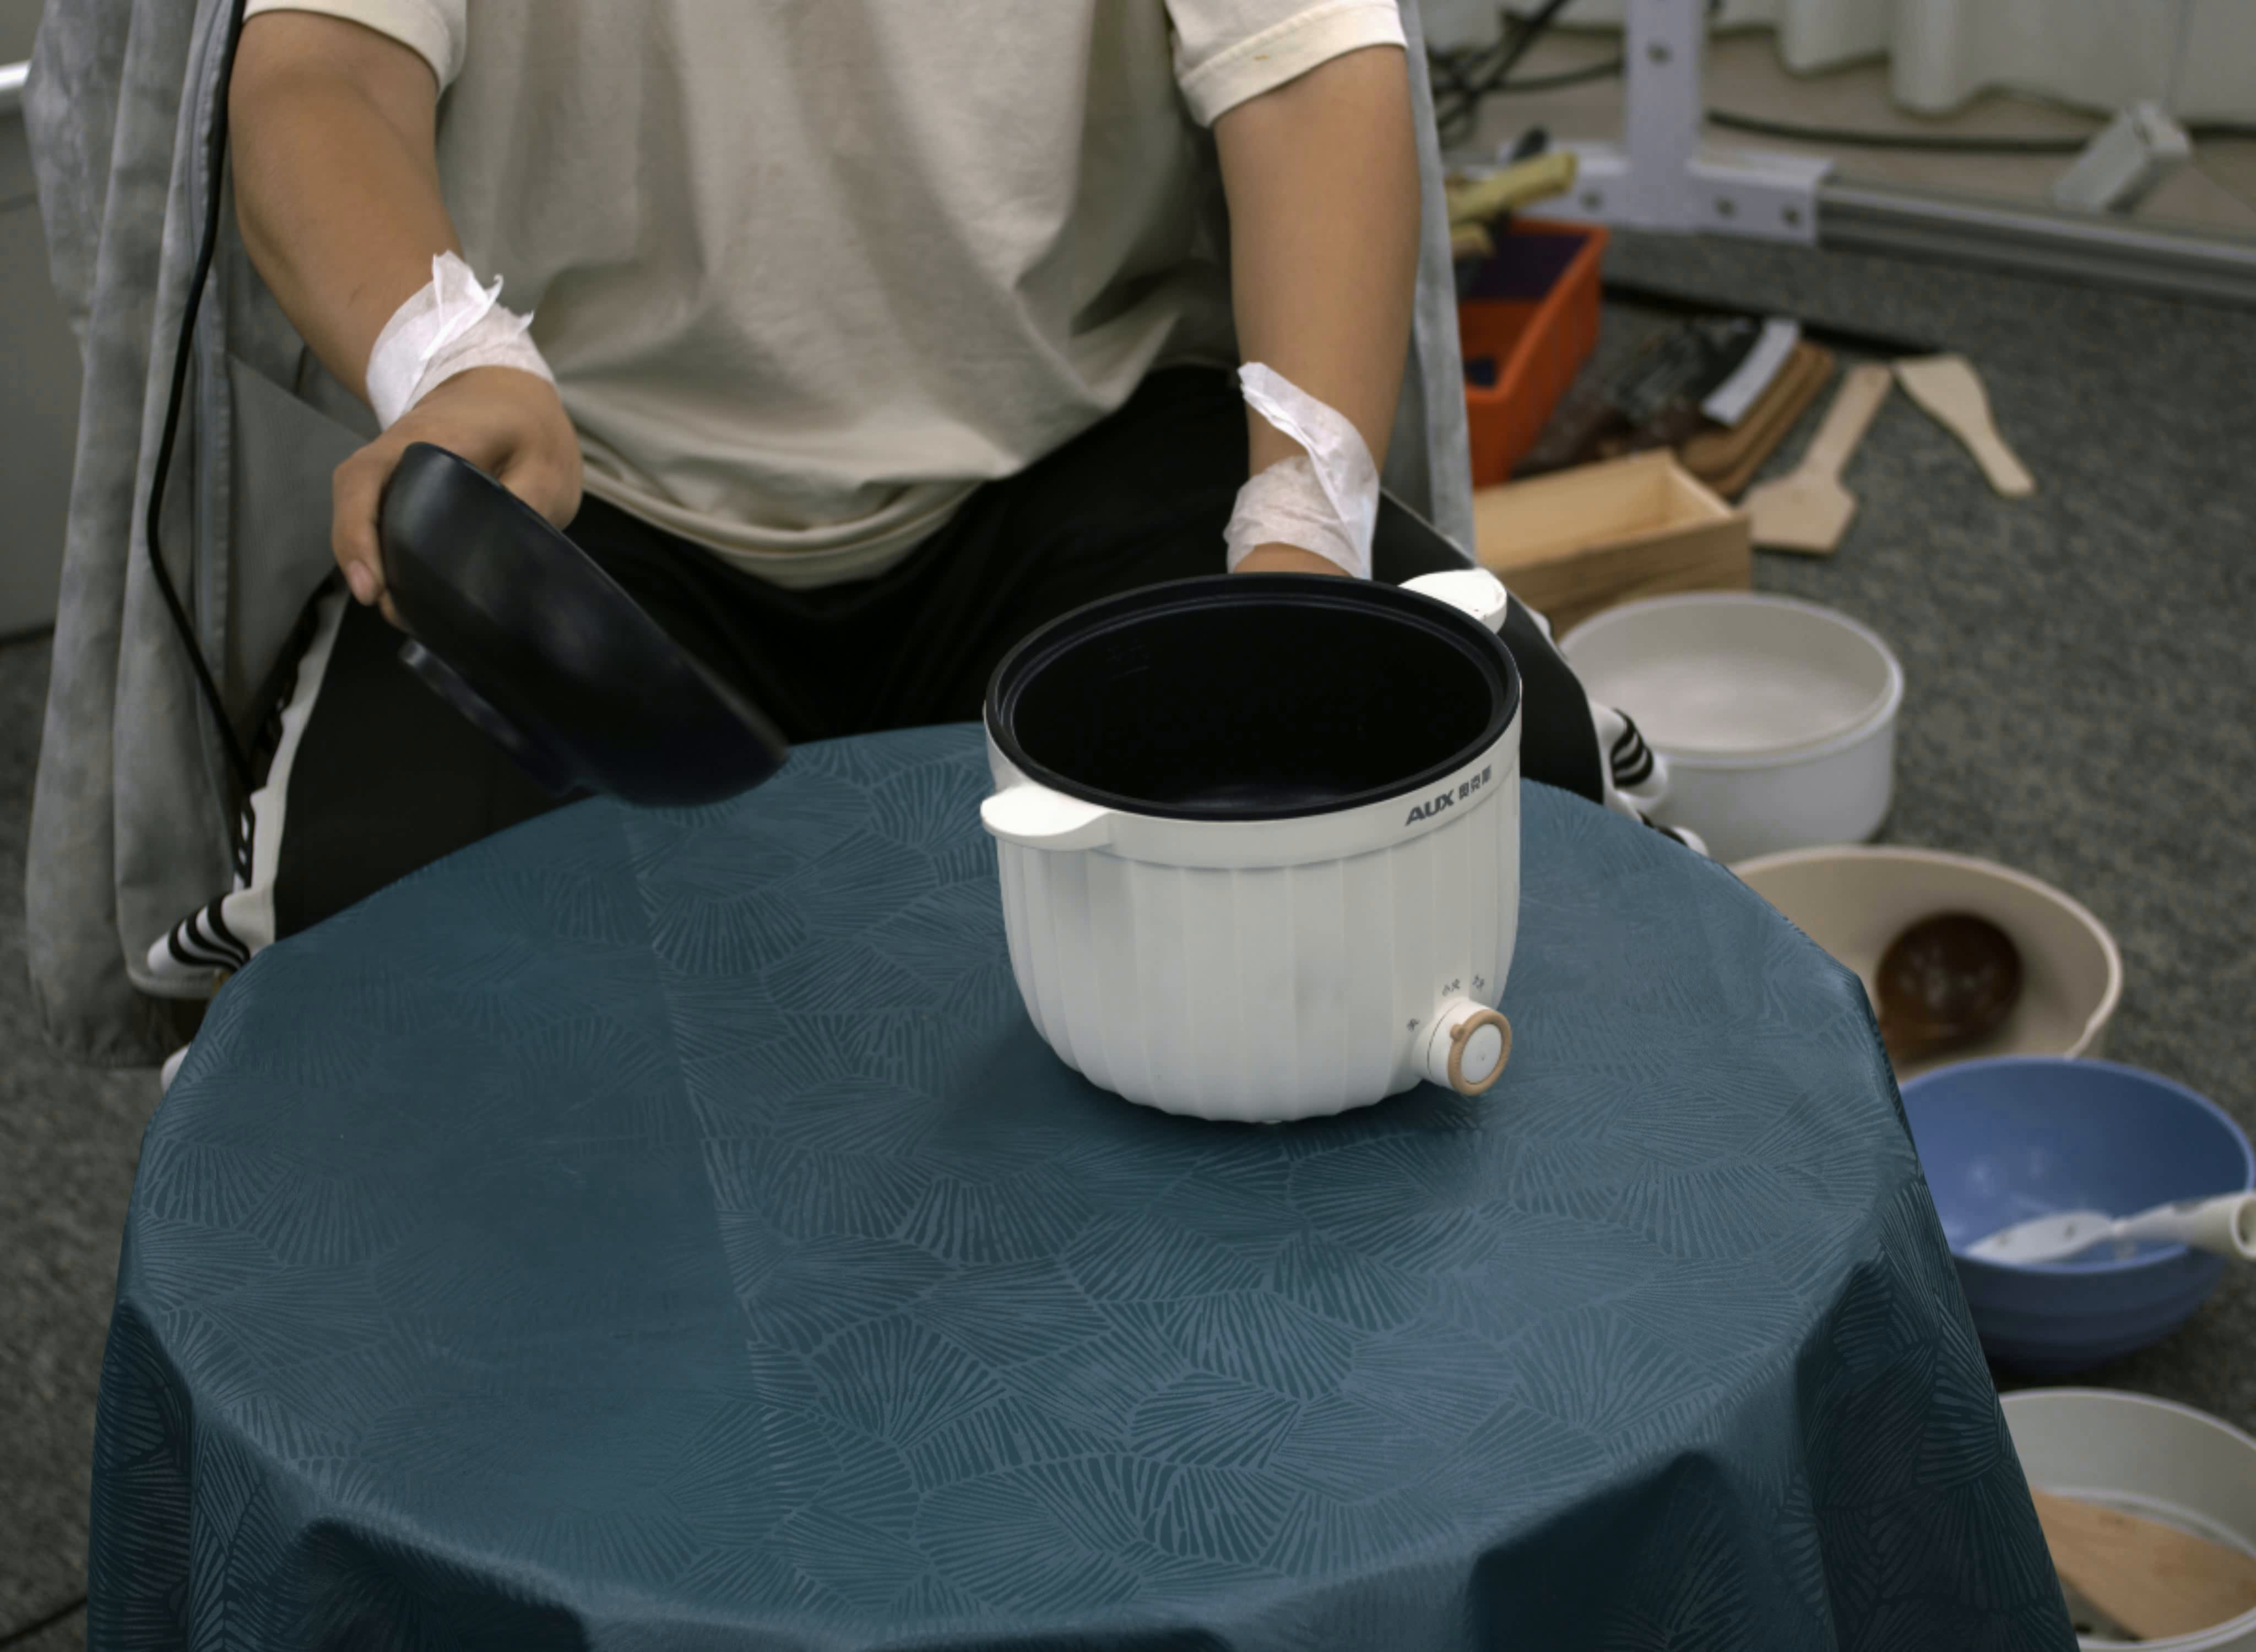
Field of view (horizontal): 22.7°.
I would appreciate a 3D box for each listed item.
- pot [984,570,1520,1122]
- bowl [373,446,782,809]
[{"bbox_3d":[0.050,0.012,1.918,0.190,0.141,0.243,17,34,41],"label":"pot"},{"bbox_3d":[-0.189,-0.054,1.802,0.171,0.136,0.067,39,85,29],"label":"bowl"}]
